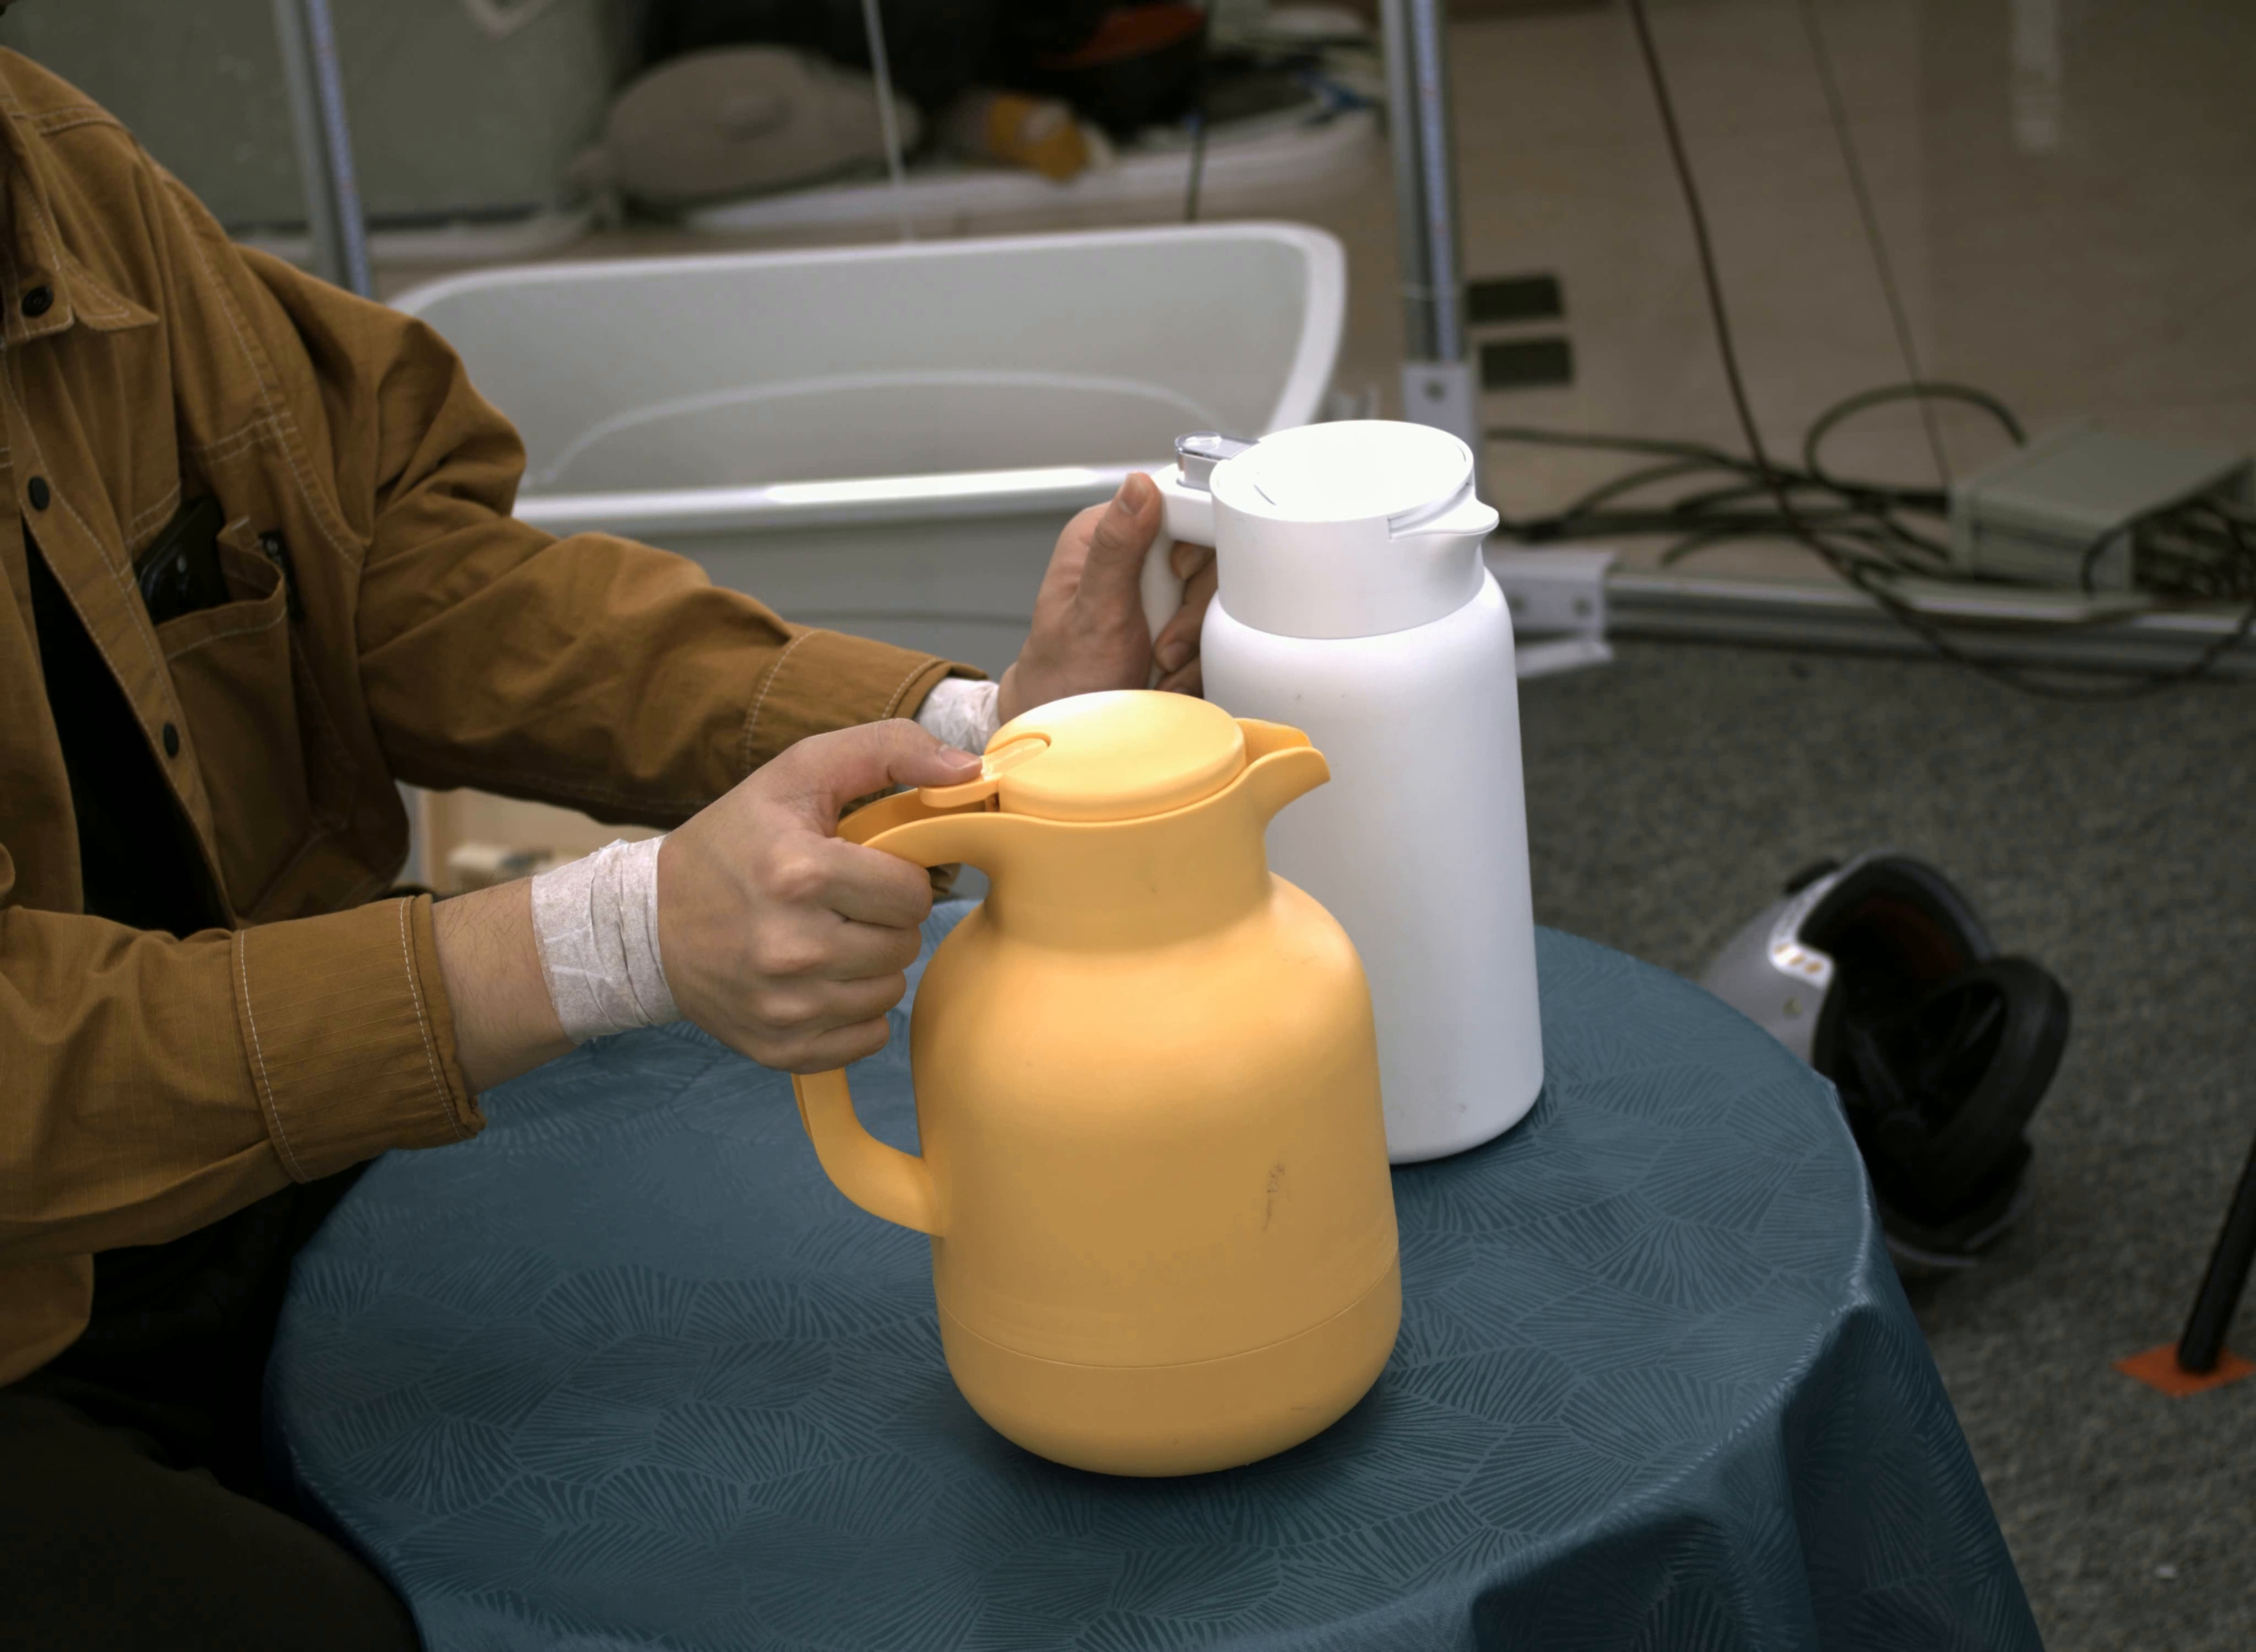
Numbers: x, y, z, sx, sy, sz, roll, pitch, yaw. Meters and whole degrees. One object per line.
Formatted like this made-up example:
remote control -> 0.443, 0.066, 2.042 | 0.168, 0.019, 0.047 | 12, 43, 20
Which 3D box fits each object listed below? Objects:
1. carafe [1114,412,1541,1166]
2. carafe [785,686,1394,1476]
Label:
carafe -> 0.076, -0.015, 2.139 | 0.172, 0.273, 0.122 | 15, 35, 36
carafe -> -0.013, 0.086, 1.950 | 0.202, 0.264, 0.161 | -8, 23, -9
